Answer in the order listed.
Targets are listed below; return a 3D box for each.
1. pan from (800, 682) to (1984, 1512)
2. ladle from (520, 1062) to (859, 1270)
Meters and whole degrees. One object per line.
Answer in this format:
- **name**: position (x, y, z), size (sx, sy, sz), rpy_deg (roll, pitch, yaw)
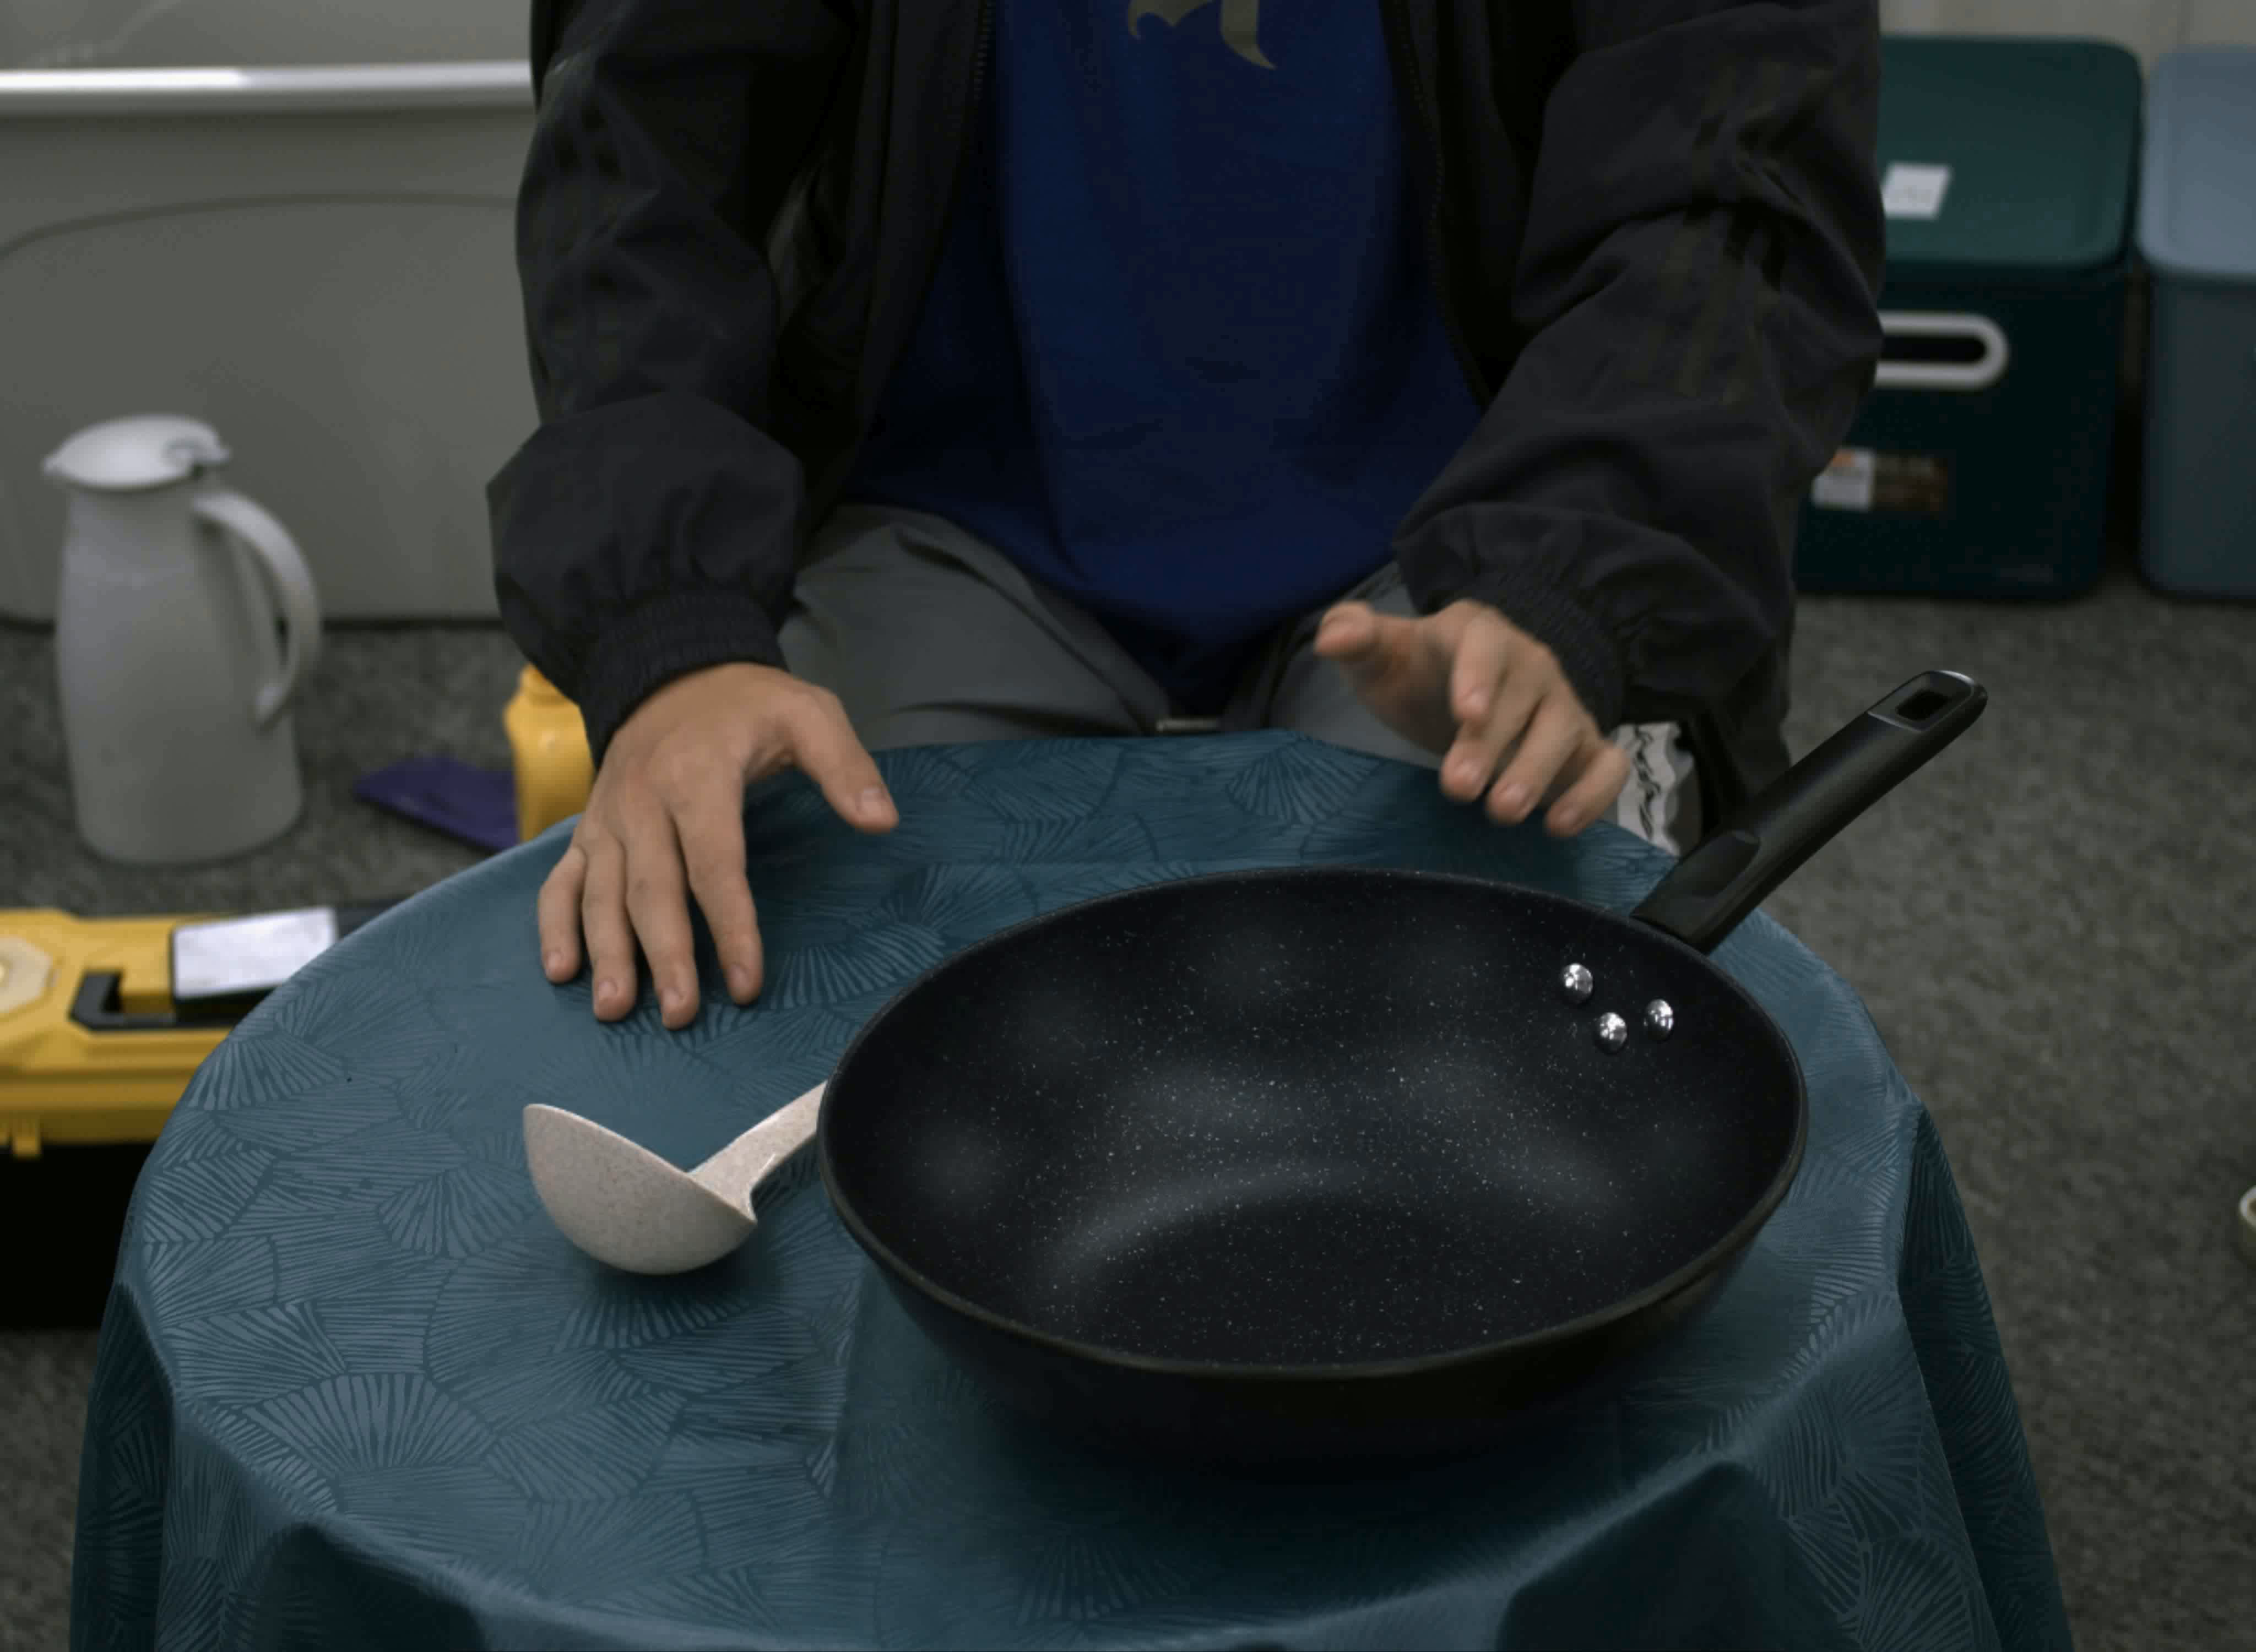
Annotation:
- **pan**: position (0.114, 0.085, 1.806), size (0.482, 0.110, 0.310), rpy_deg (-26, 37, -37)
- **ladle**: position (-0.093, 0.071, 1.895), size (0.089, 0.069, 0.279), rpy_deg (8, 27, 37)
